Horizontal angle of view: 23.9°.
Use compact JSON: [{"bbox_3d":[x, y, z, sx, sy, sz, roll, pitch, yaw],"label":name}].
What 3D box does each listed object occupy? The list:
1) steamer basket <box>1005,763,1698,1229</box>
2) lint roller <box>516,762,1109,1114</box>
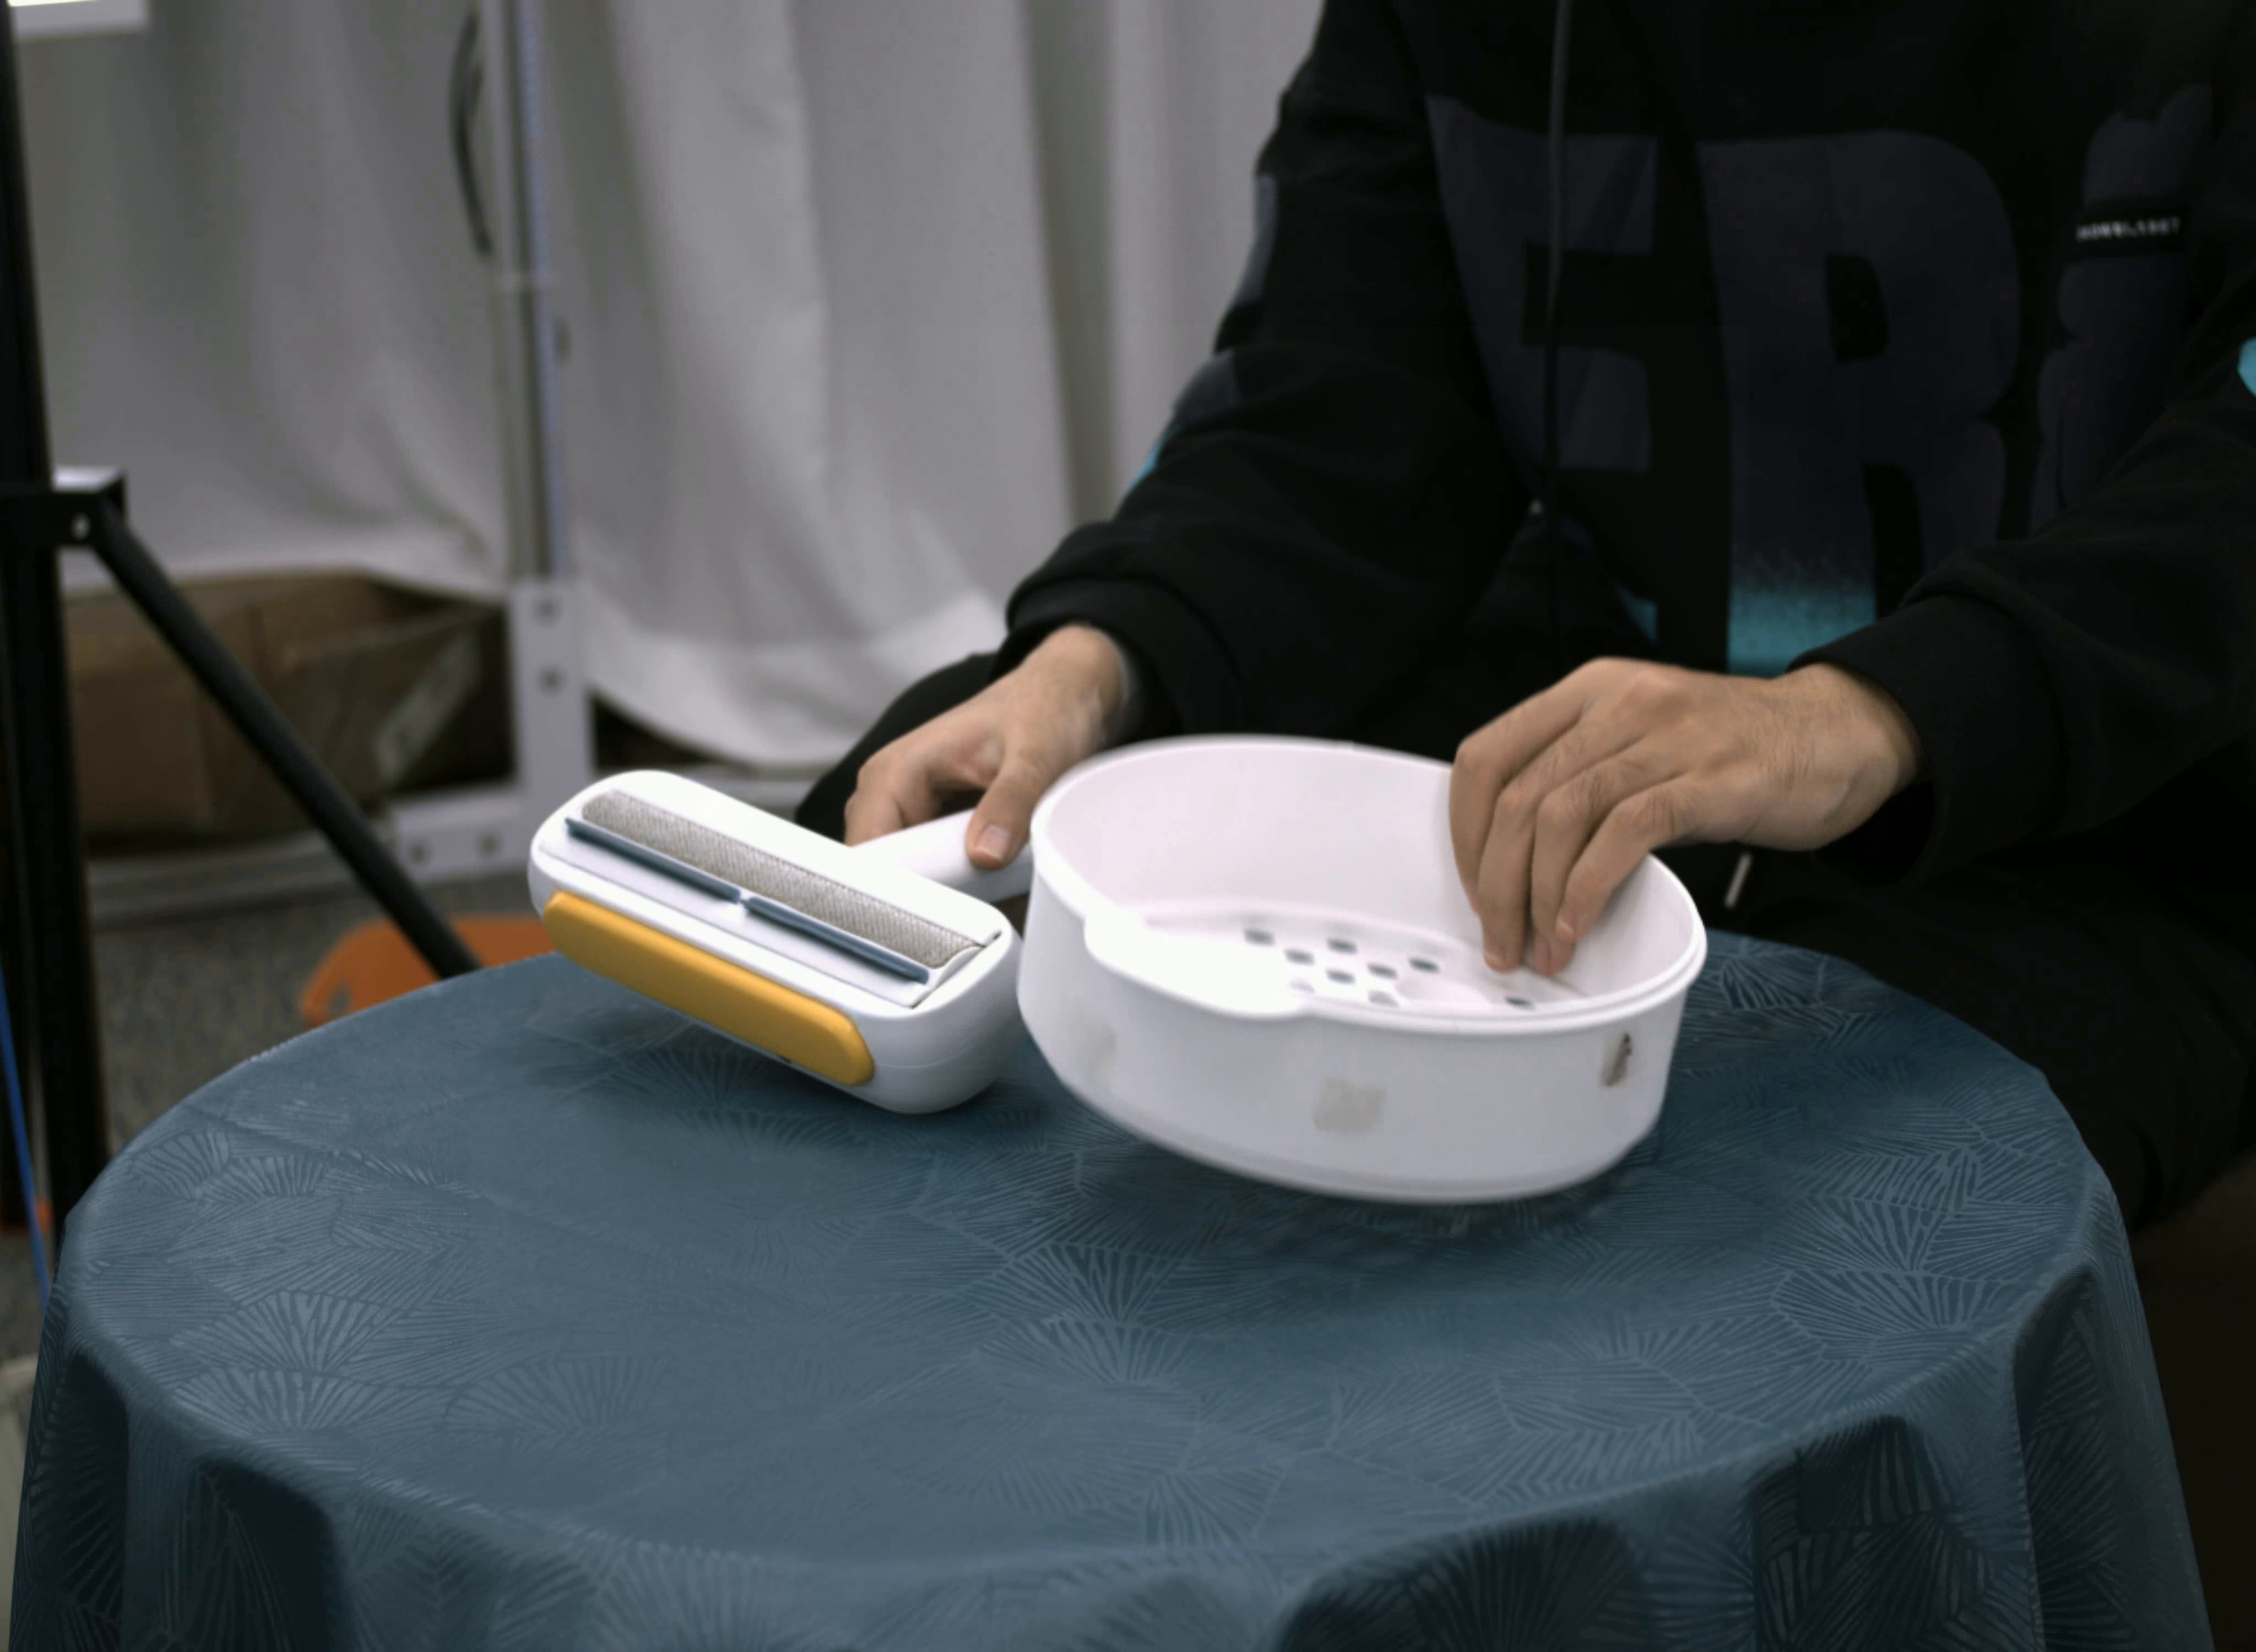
[{"bbox_3d":[0.063,0.050,1.554,0.205,0.069,0.226,22,23,28],"label":"steamer basket"},{"bbox_3d":[-0.073,0.017,1.725,0.189,0.074,0.197,-29,33,-34],"label":"lint roller"}]
